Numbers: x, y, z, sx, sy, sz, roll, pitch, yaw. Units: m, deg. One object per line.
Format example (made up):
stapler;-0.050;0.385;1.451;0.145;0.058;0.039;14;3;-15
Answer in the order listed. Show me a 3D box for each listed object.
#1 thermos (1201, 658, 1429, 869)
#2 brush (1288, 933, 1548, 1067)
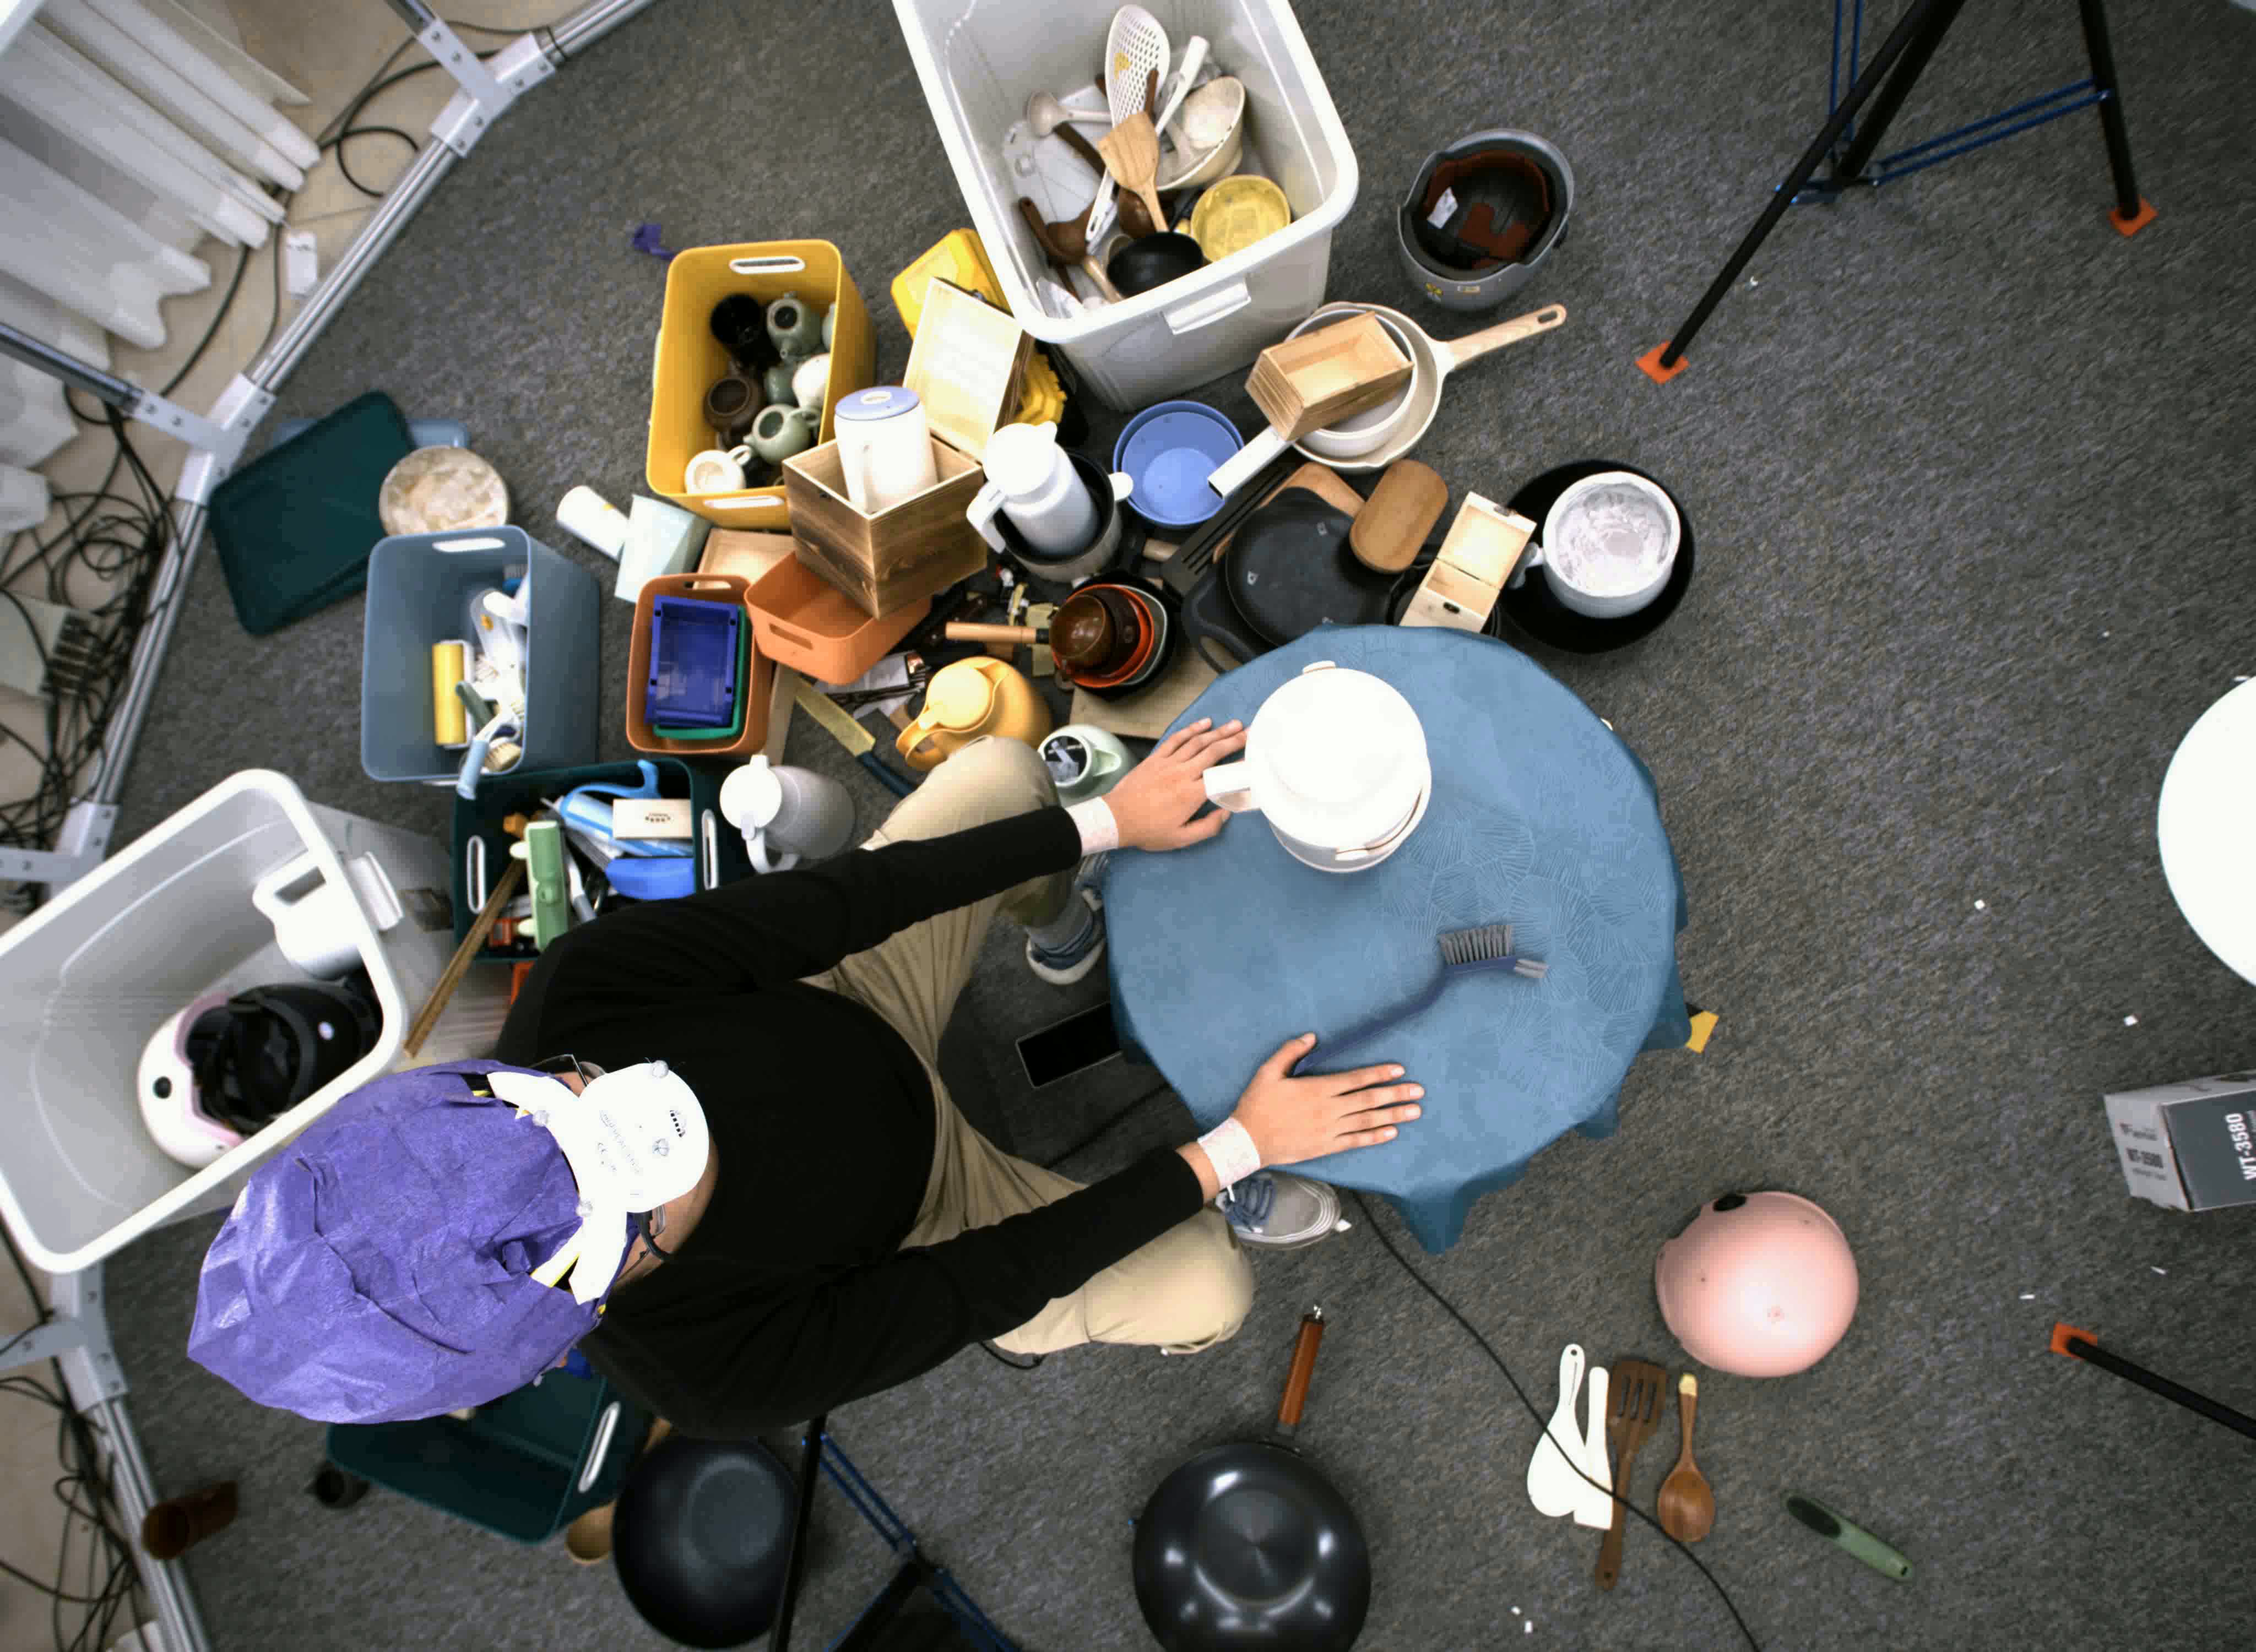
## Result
thermos;0.179;-0.051;1.283;0.208;0.406;0.174;-11;84;8
brush;0.295;0.196;1.432;0.274;0.033;0.095;-35;79;5
